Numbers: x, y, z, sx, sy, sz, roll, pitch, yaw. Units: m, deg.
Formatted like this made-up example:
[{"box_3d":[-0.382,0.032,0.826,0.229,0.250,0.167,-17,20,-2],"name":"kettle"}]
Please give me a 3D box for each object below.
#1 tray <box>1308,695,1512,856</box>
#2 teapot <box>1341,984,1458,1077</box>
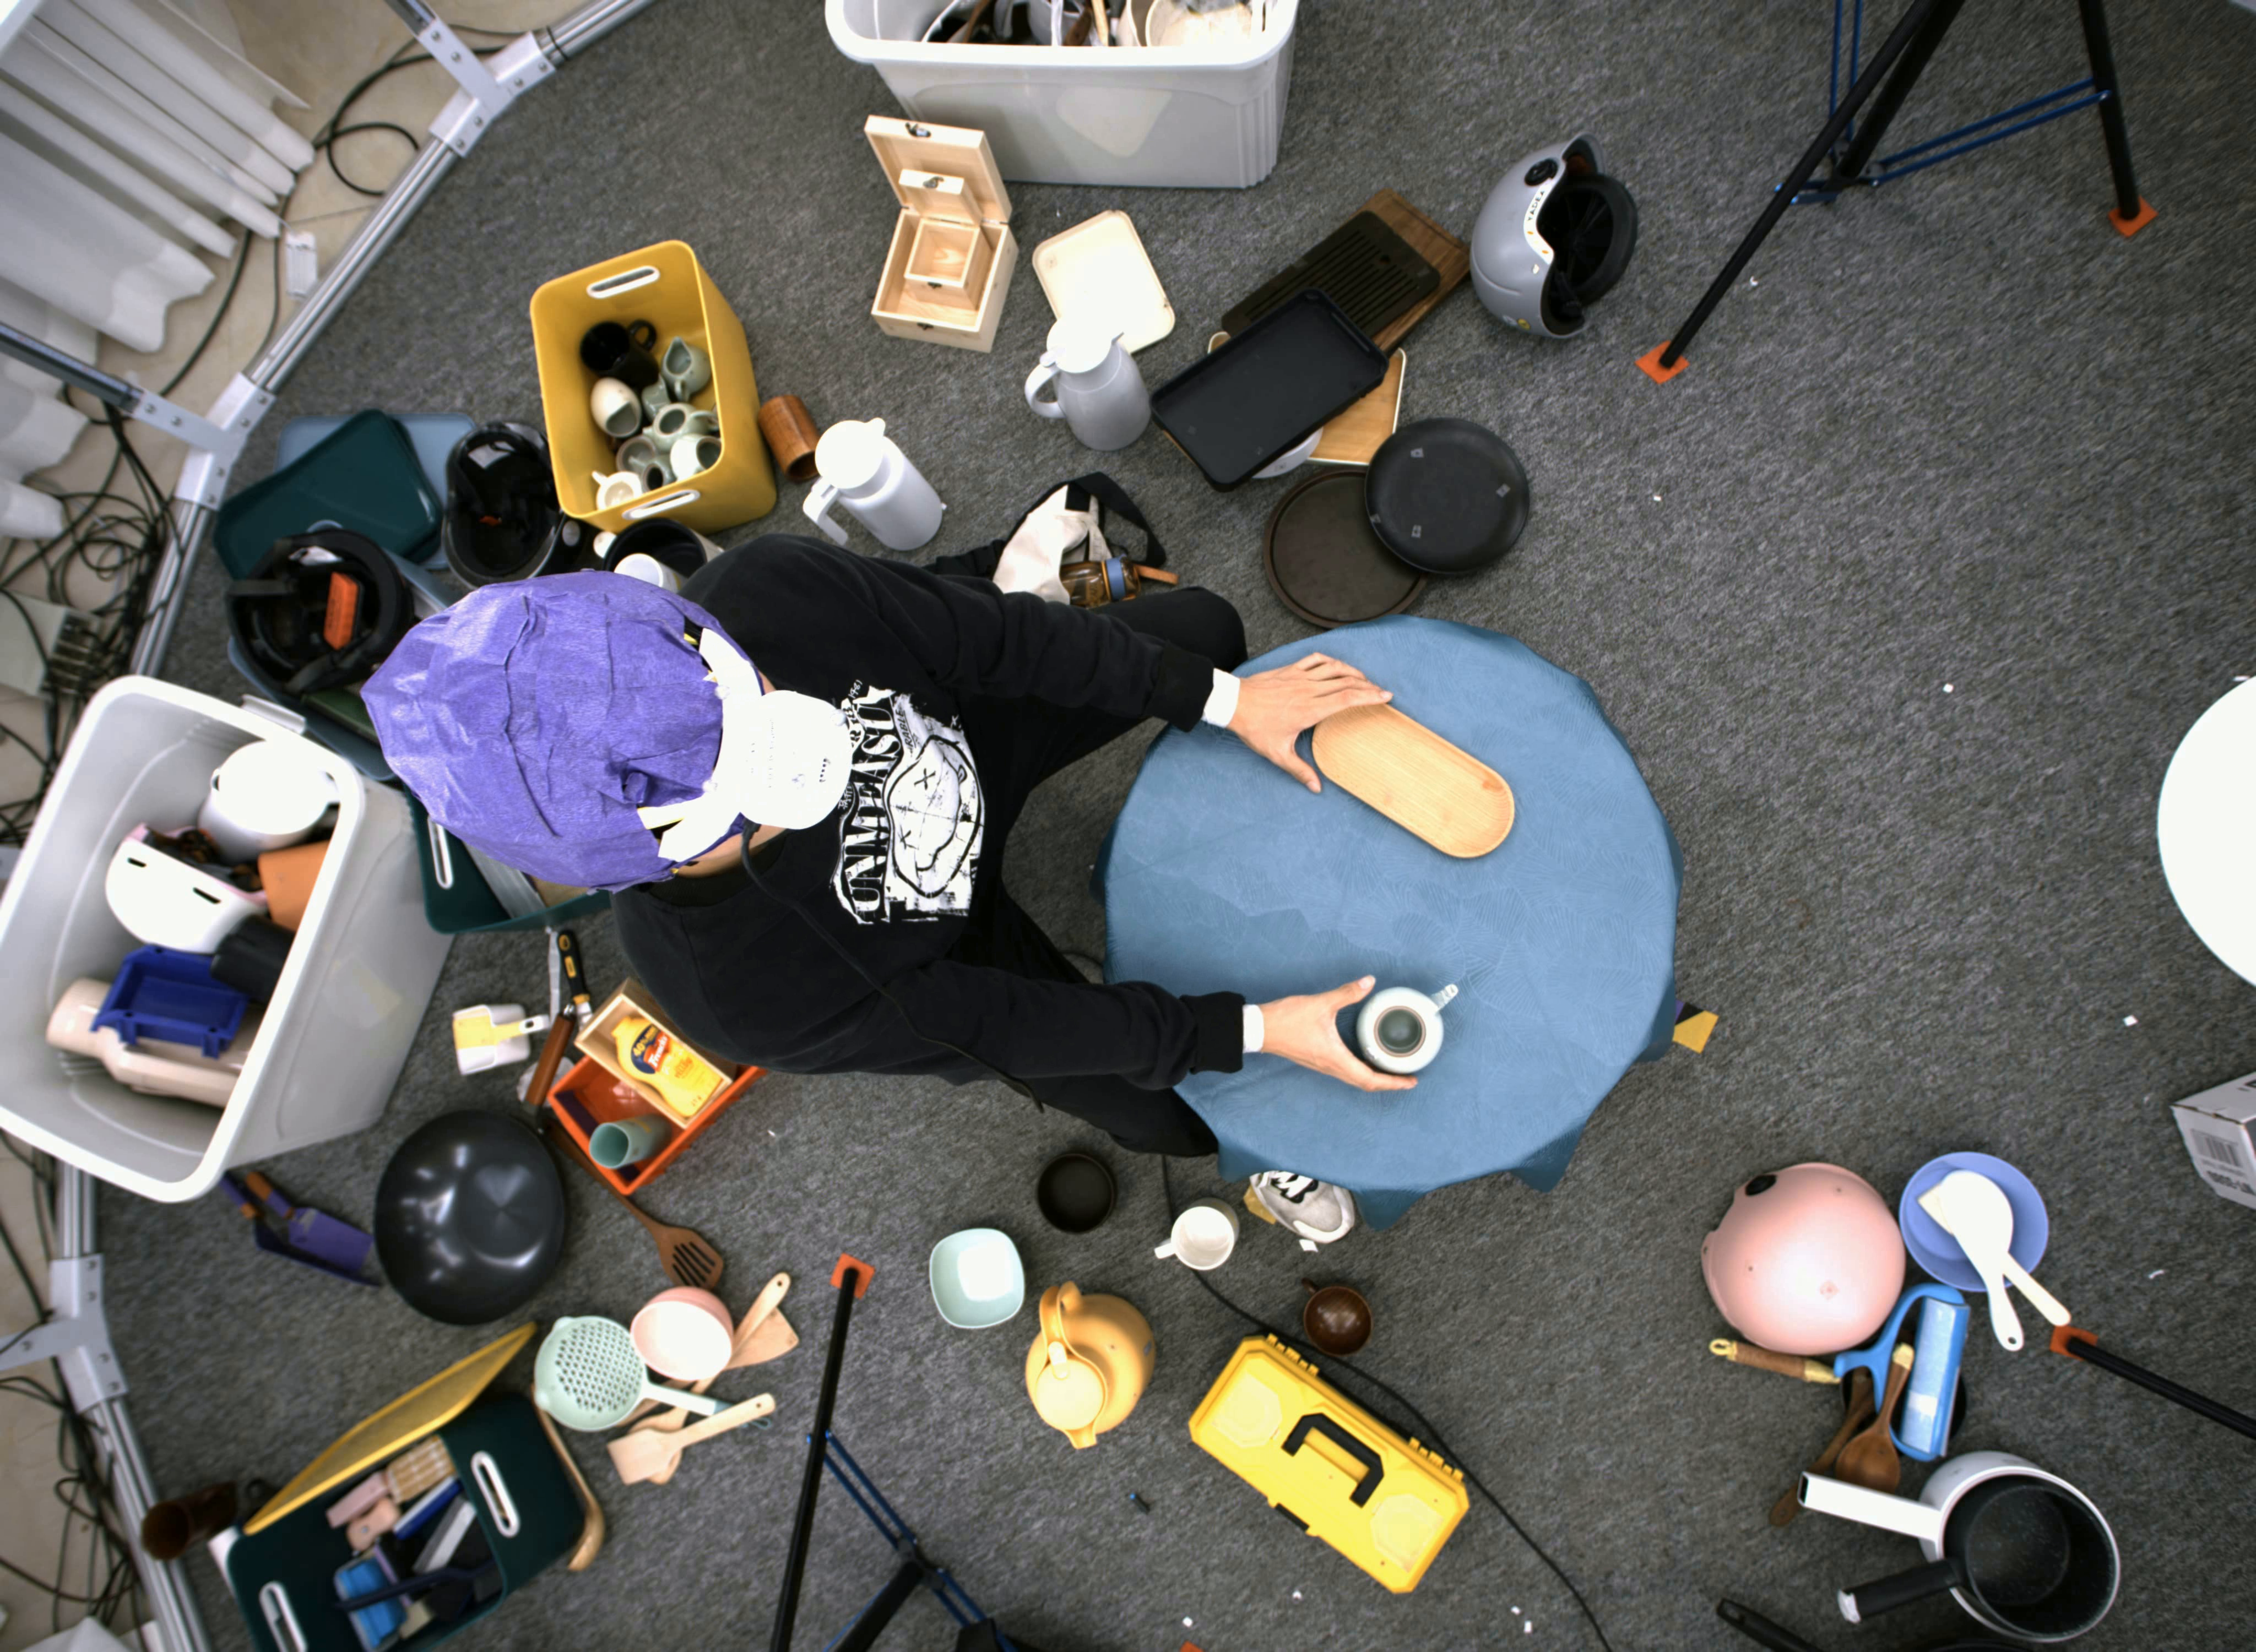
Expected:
[{"box_3d":[0.297,-0.055,1.454,0.230,0.020,0.102,33,92,12],"name":"tray"},{"box_3d":[0.278,0.206,1.417,0.144,0.075,0.088,-37,80,5],"name":"teapot"}]
